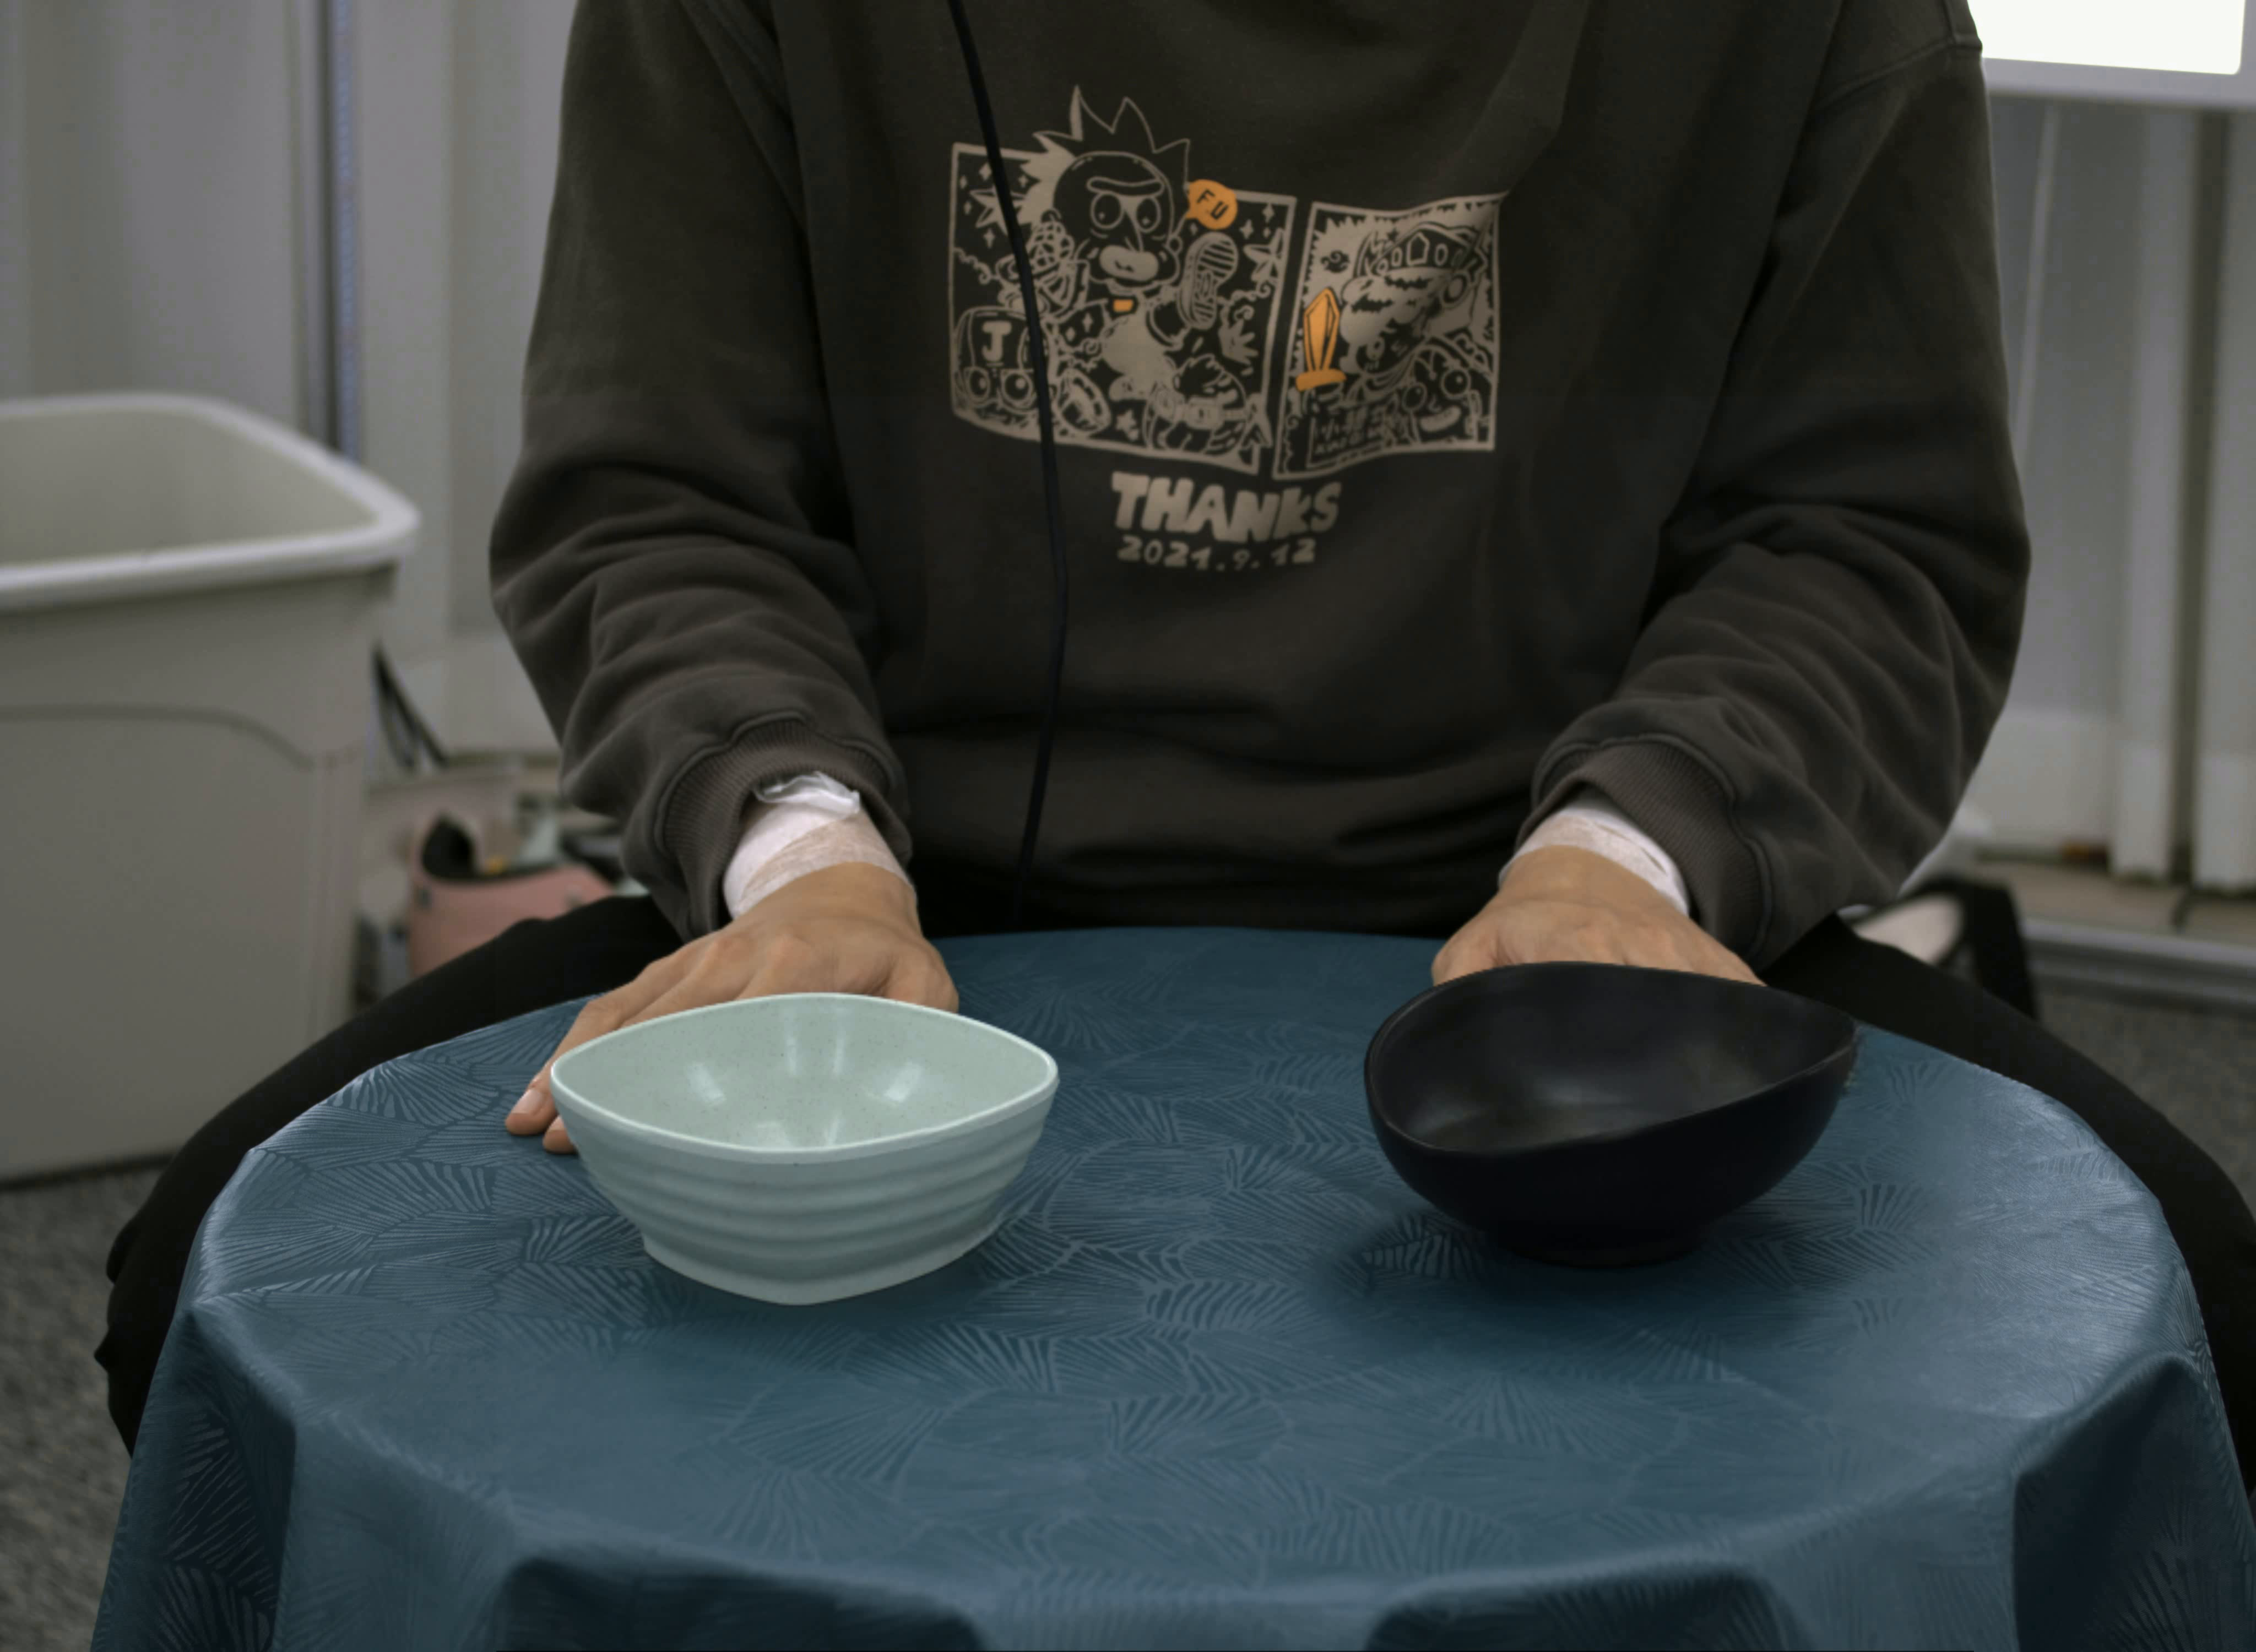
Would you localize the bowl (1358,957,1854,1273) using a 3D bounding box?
[{"bbox_3d":[0.144,0.093,1.589,0.135,0.067,0.171,13,21,37],"label":"bowl"}]

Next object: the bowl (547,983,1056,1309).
[{"bbox_3d":[-0.097,0.099,1.570,0.151,0.059,0.150,2,17,0],"label":"bowl"}]
